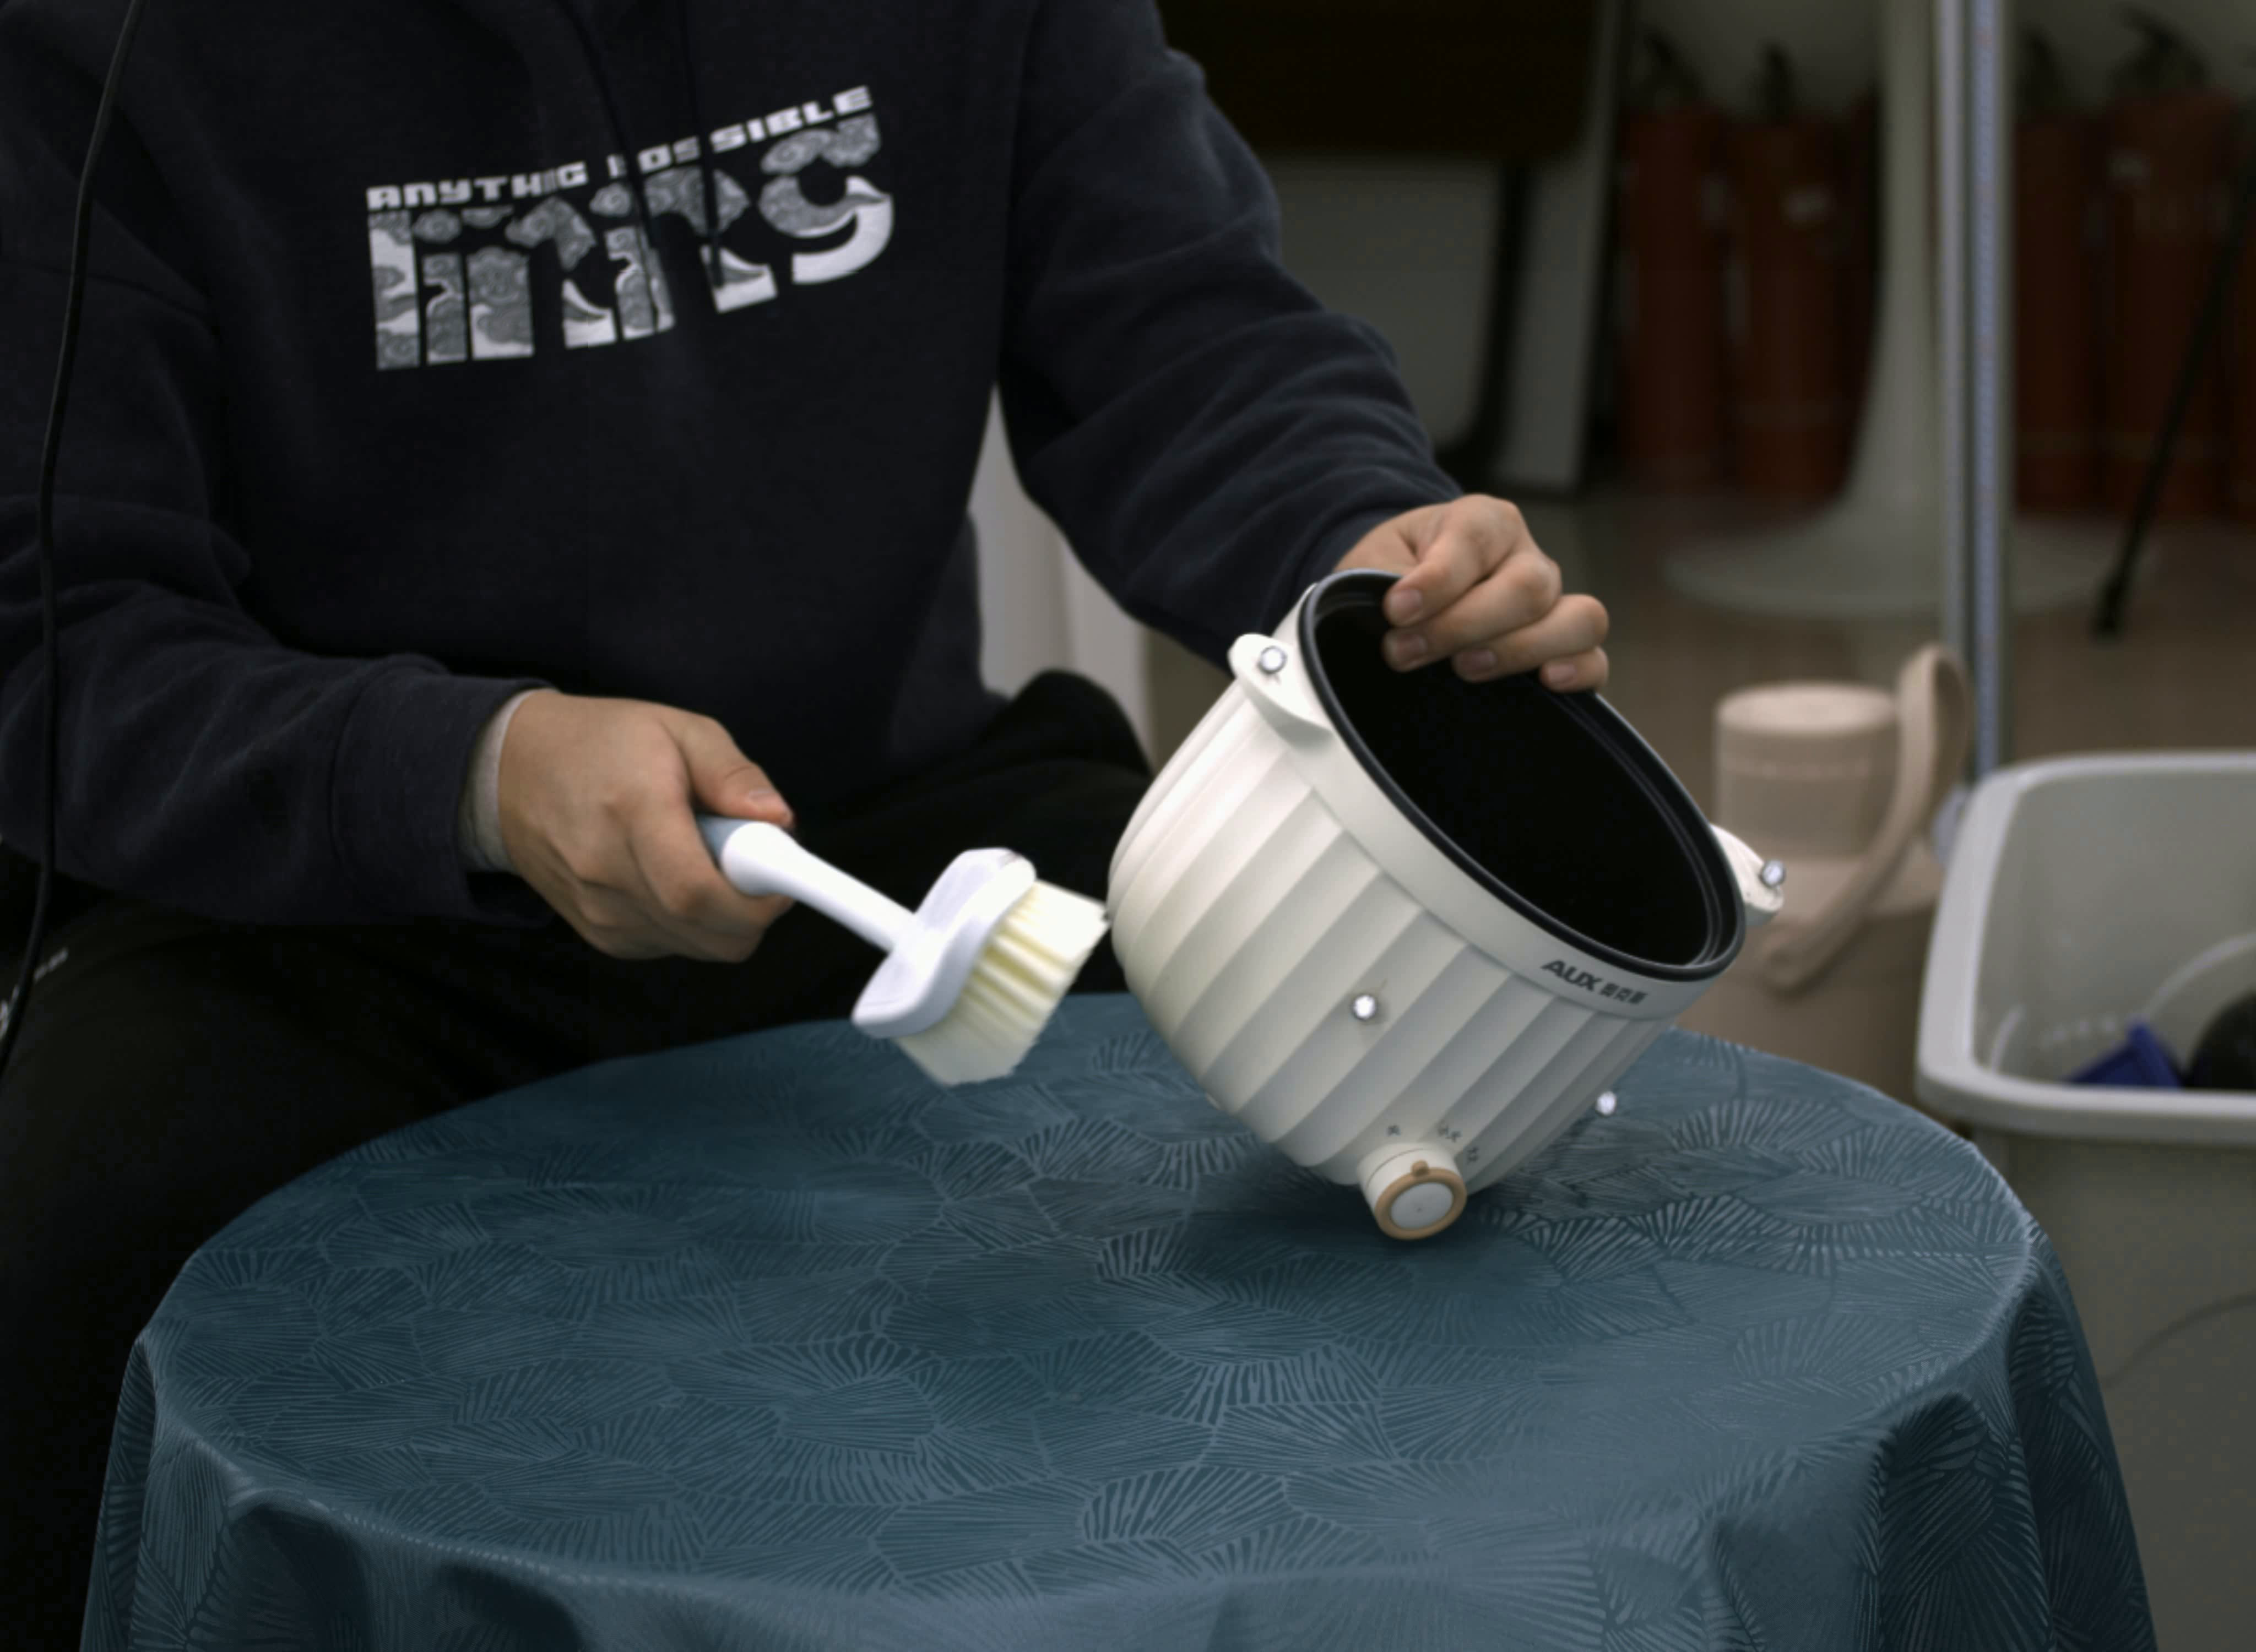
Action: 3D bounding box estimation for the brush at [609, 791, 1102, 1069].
[{"bbox_3d":[-0.080,0.028,1.767,0.081,0.085,0.328,-22,12,-21],"label":"brush"}]

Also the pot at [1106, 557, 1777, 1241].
[{"bbox_3d":[0.090,0.029,1.738,0.235,0.144,0.193,19,29,-34],"label":"pot"}]
